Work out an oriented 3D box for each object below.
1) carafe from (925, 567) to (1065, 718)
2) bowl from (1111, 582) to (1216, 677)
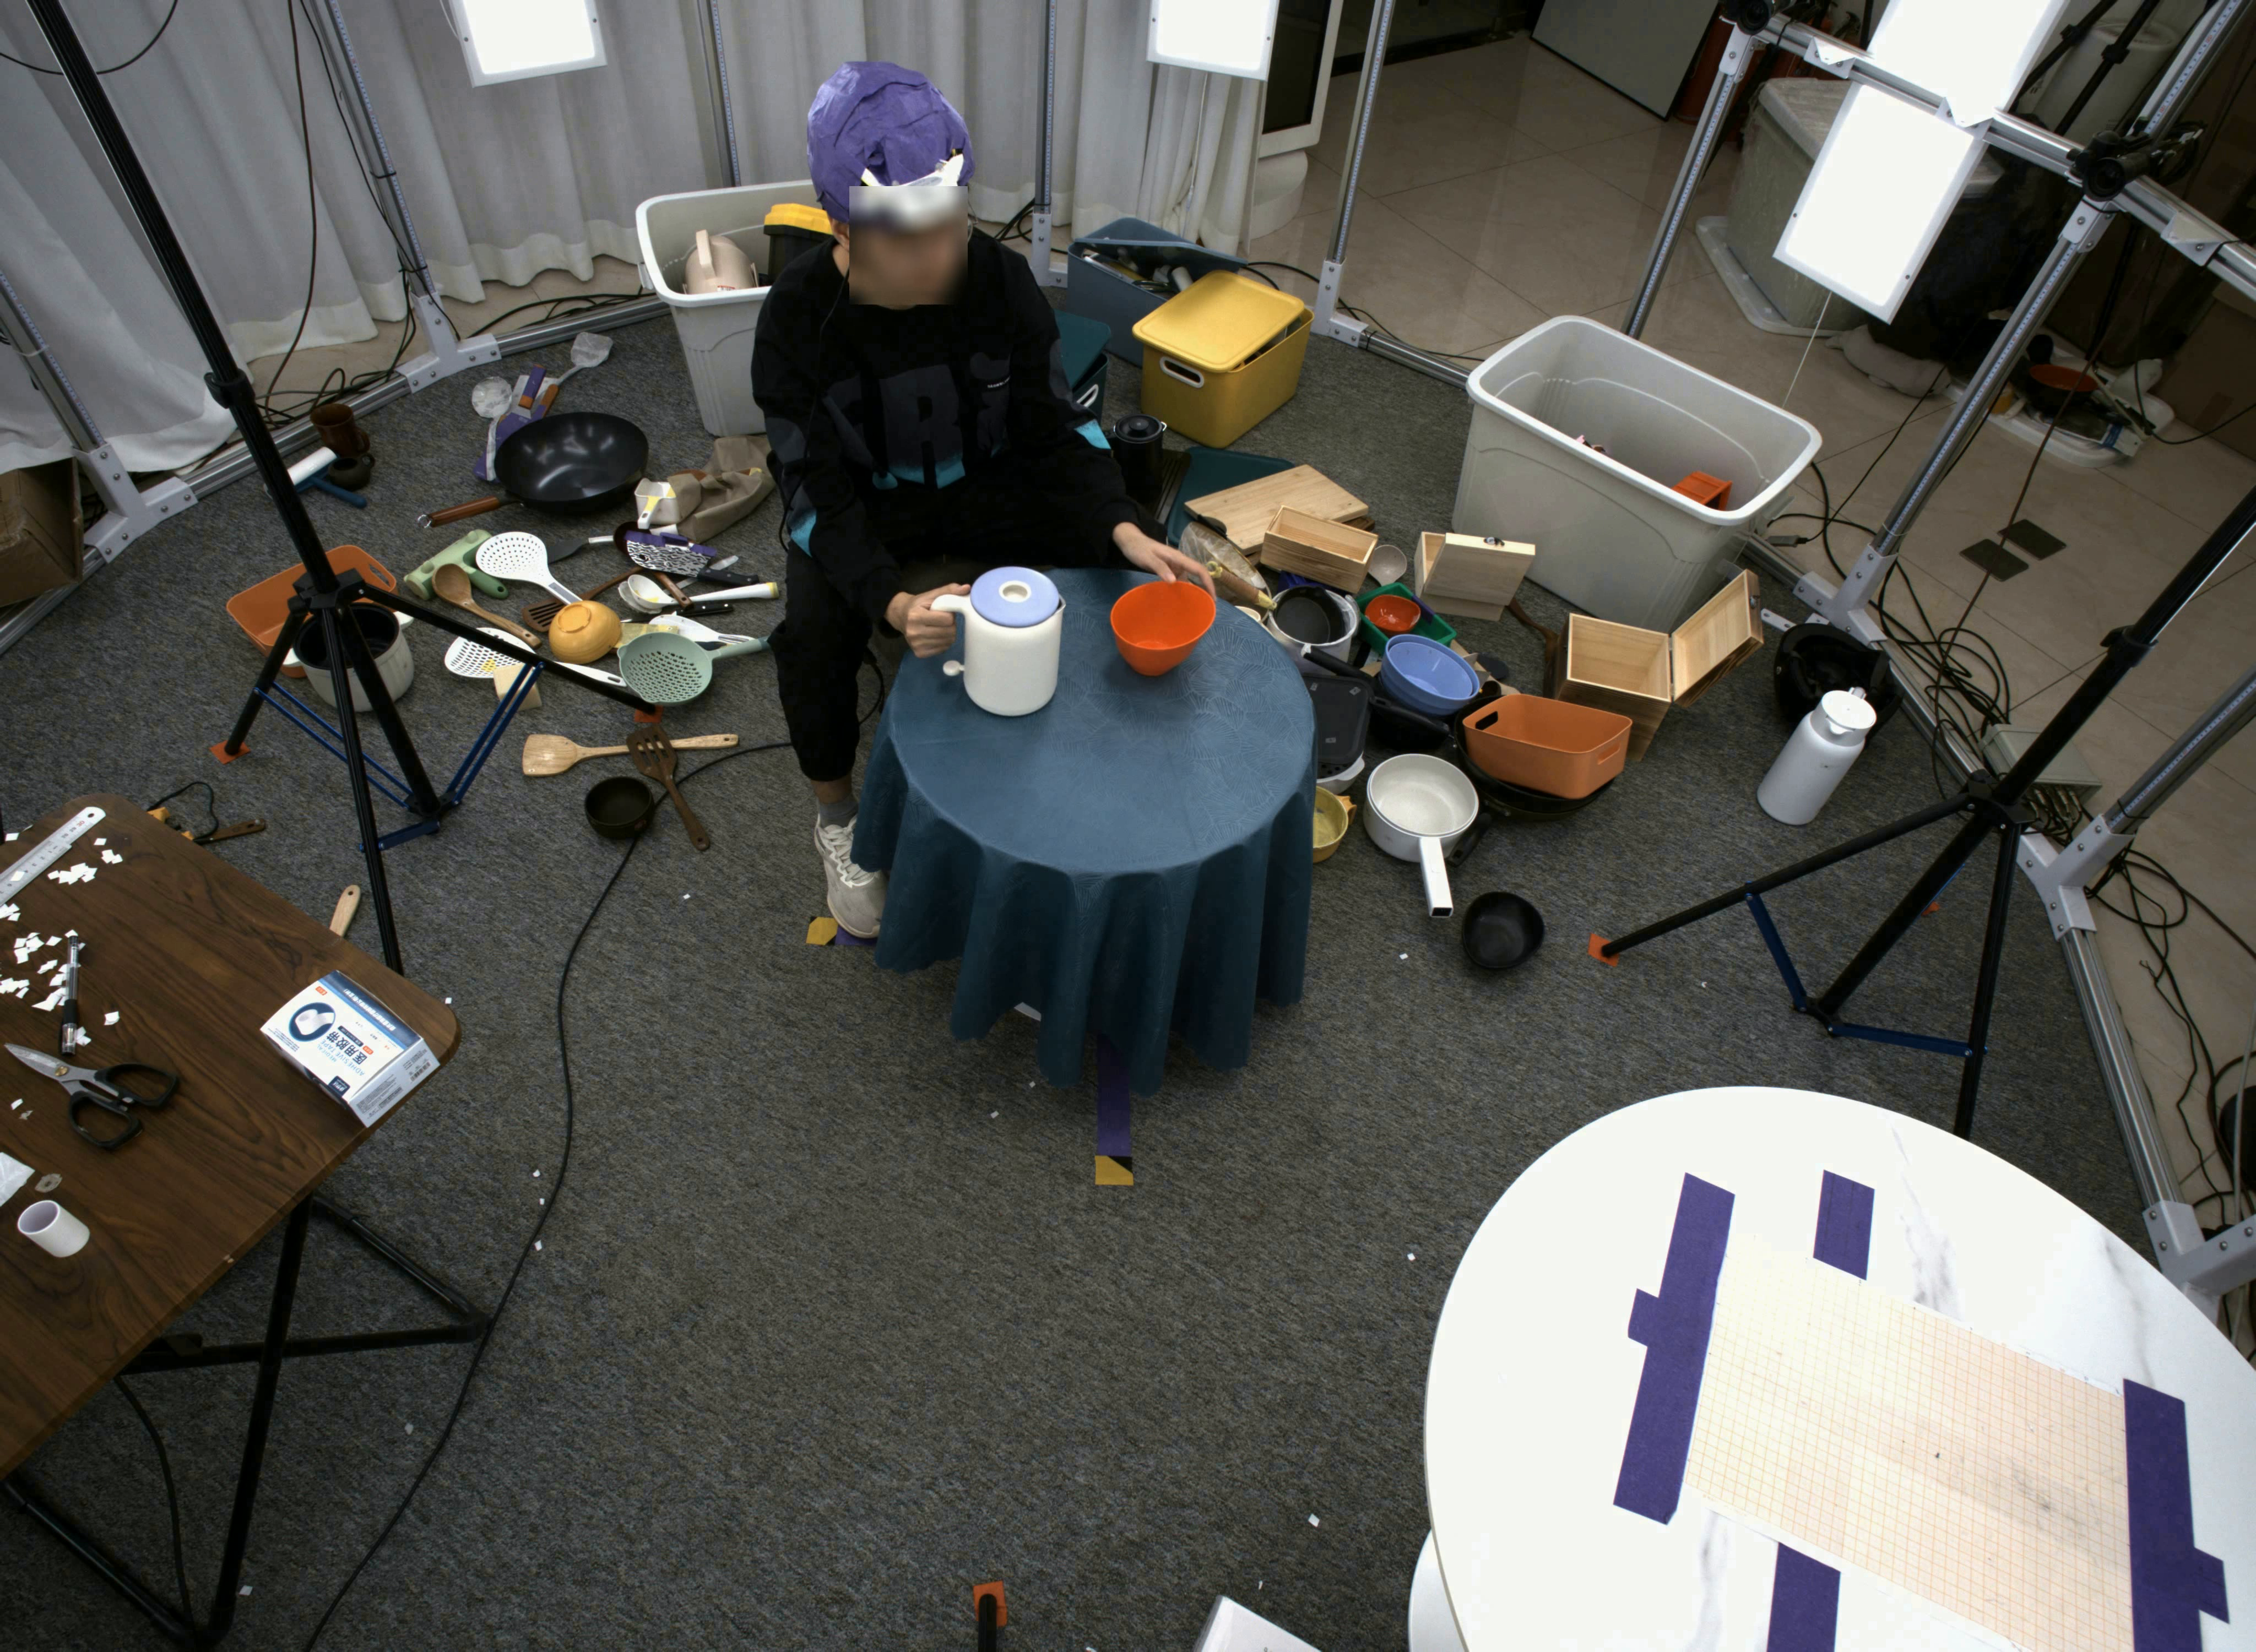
[{"bbox_3d":[-0.182,-0.253,1.764,0.191,0.178,0.135,4,48,0],"label":"carafe"},{"bbox_3d":[0.047,-0.271,1.841,0.148,0.102,0.152,2,49,-2],"label":"bowl"}]
